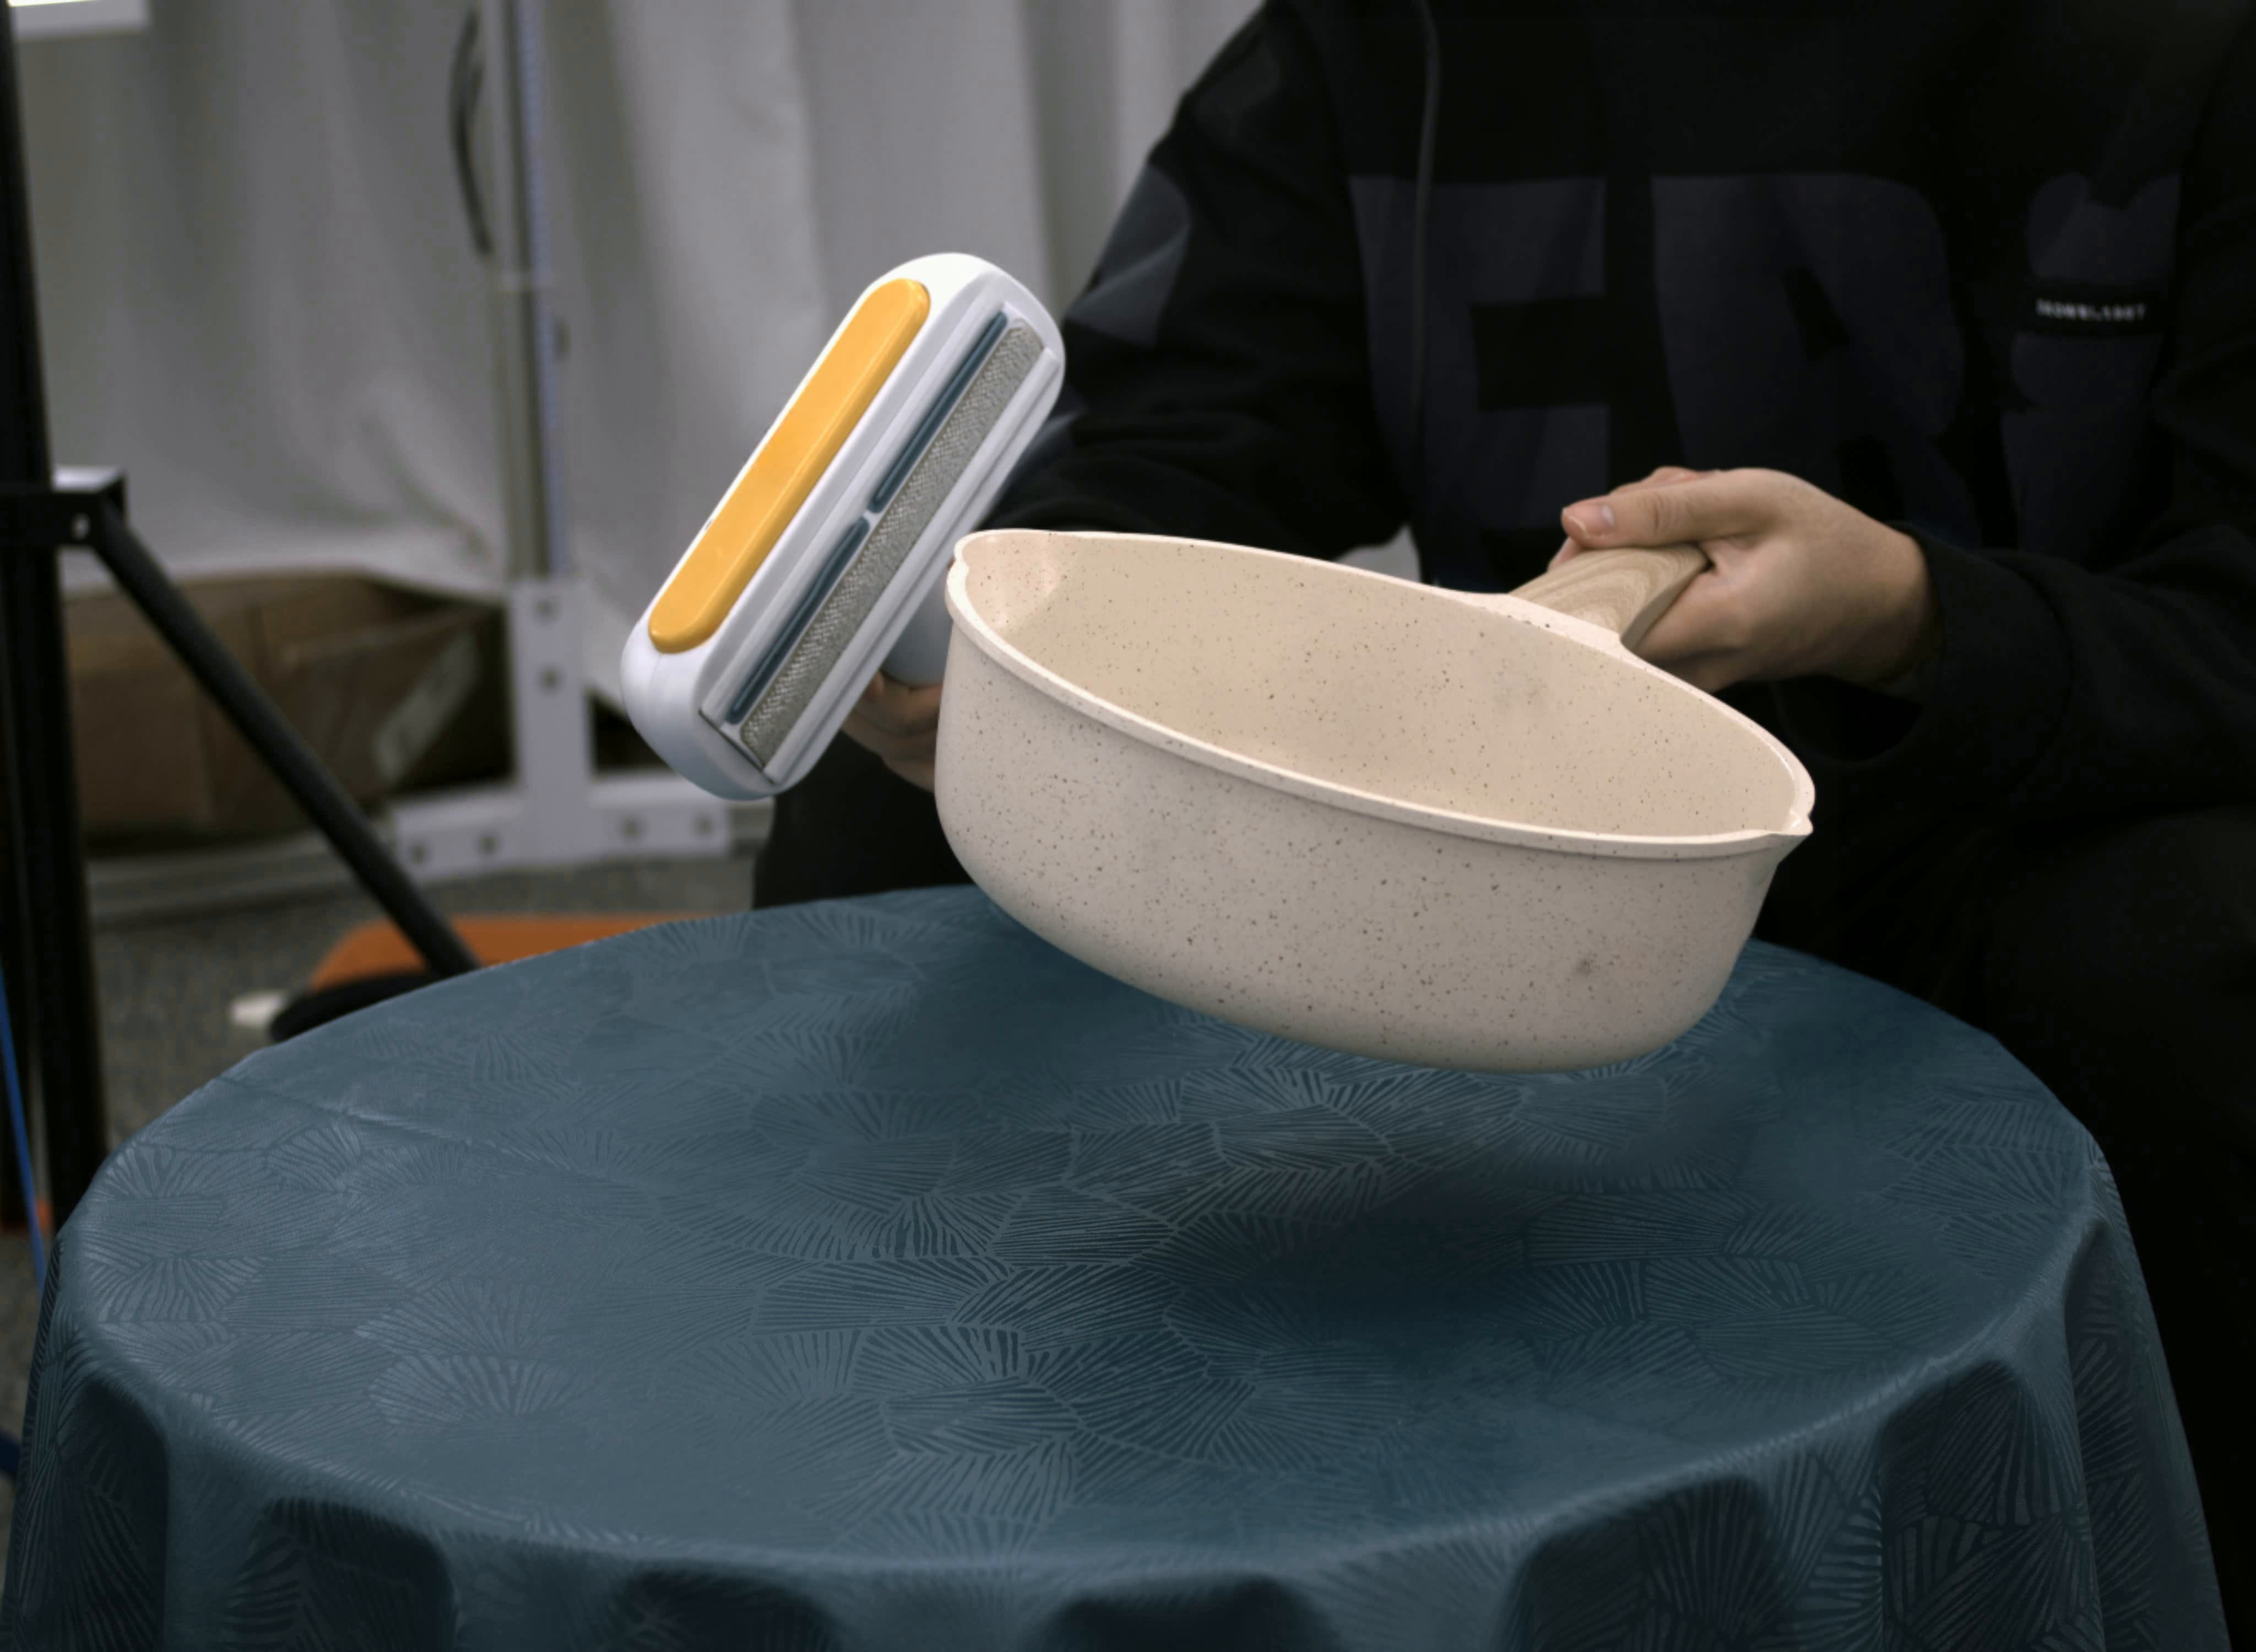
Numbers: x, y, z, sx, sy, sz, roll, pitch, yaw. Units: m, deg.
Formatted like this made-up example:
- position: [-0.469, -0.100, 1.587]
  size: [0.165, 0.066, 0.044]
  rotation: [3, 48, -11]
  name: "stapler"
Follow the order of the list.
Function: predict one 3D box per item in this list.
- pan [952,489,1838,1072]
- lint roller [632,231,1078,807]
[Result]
- position: [0.106, -0.025, 1.573]
  size: [0.267, 0.102, 0.427]
  rotation: [18, 17, 22]
  name: "pan"
- position: [-0.069, -0.070, 1.739]
  size: [0.076, 0.188, 0.192]
  rotation: [14, 63, 37]
  name: "lint roller"
